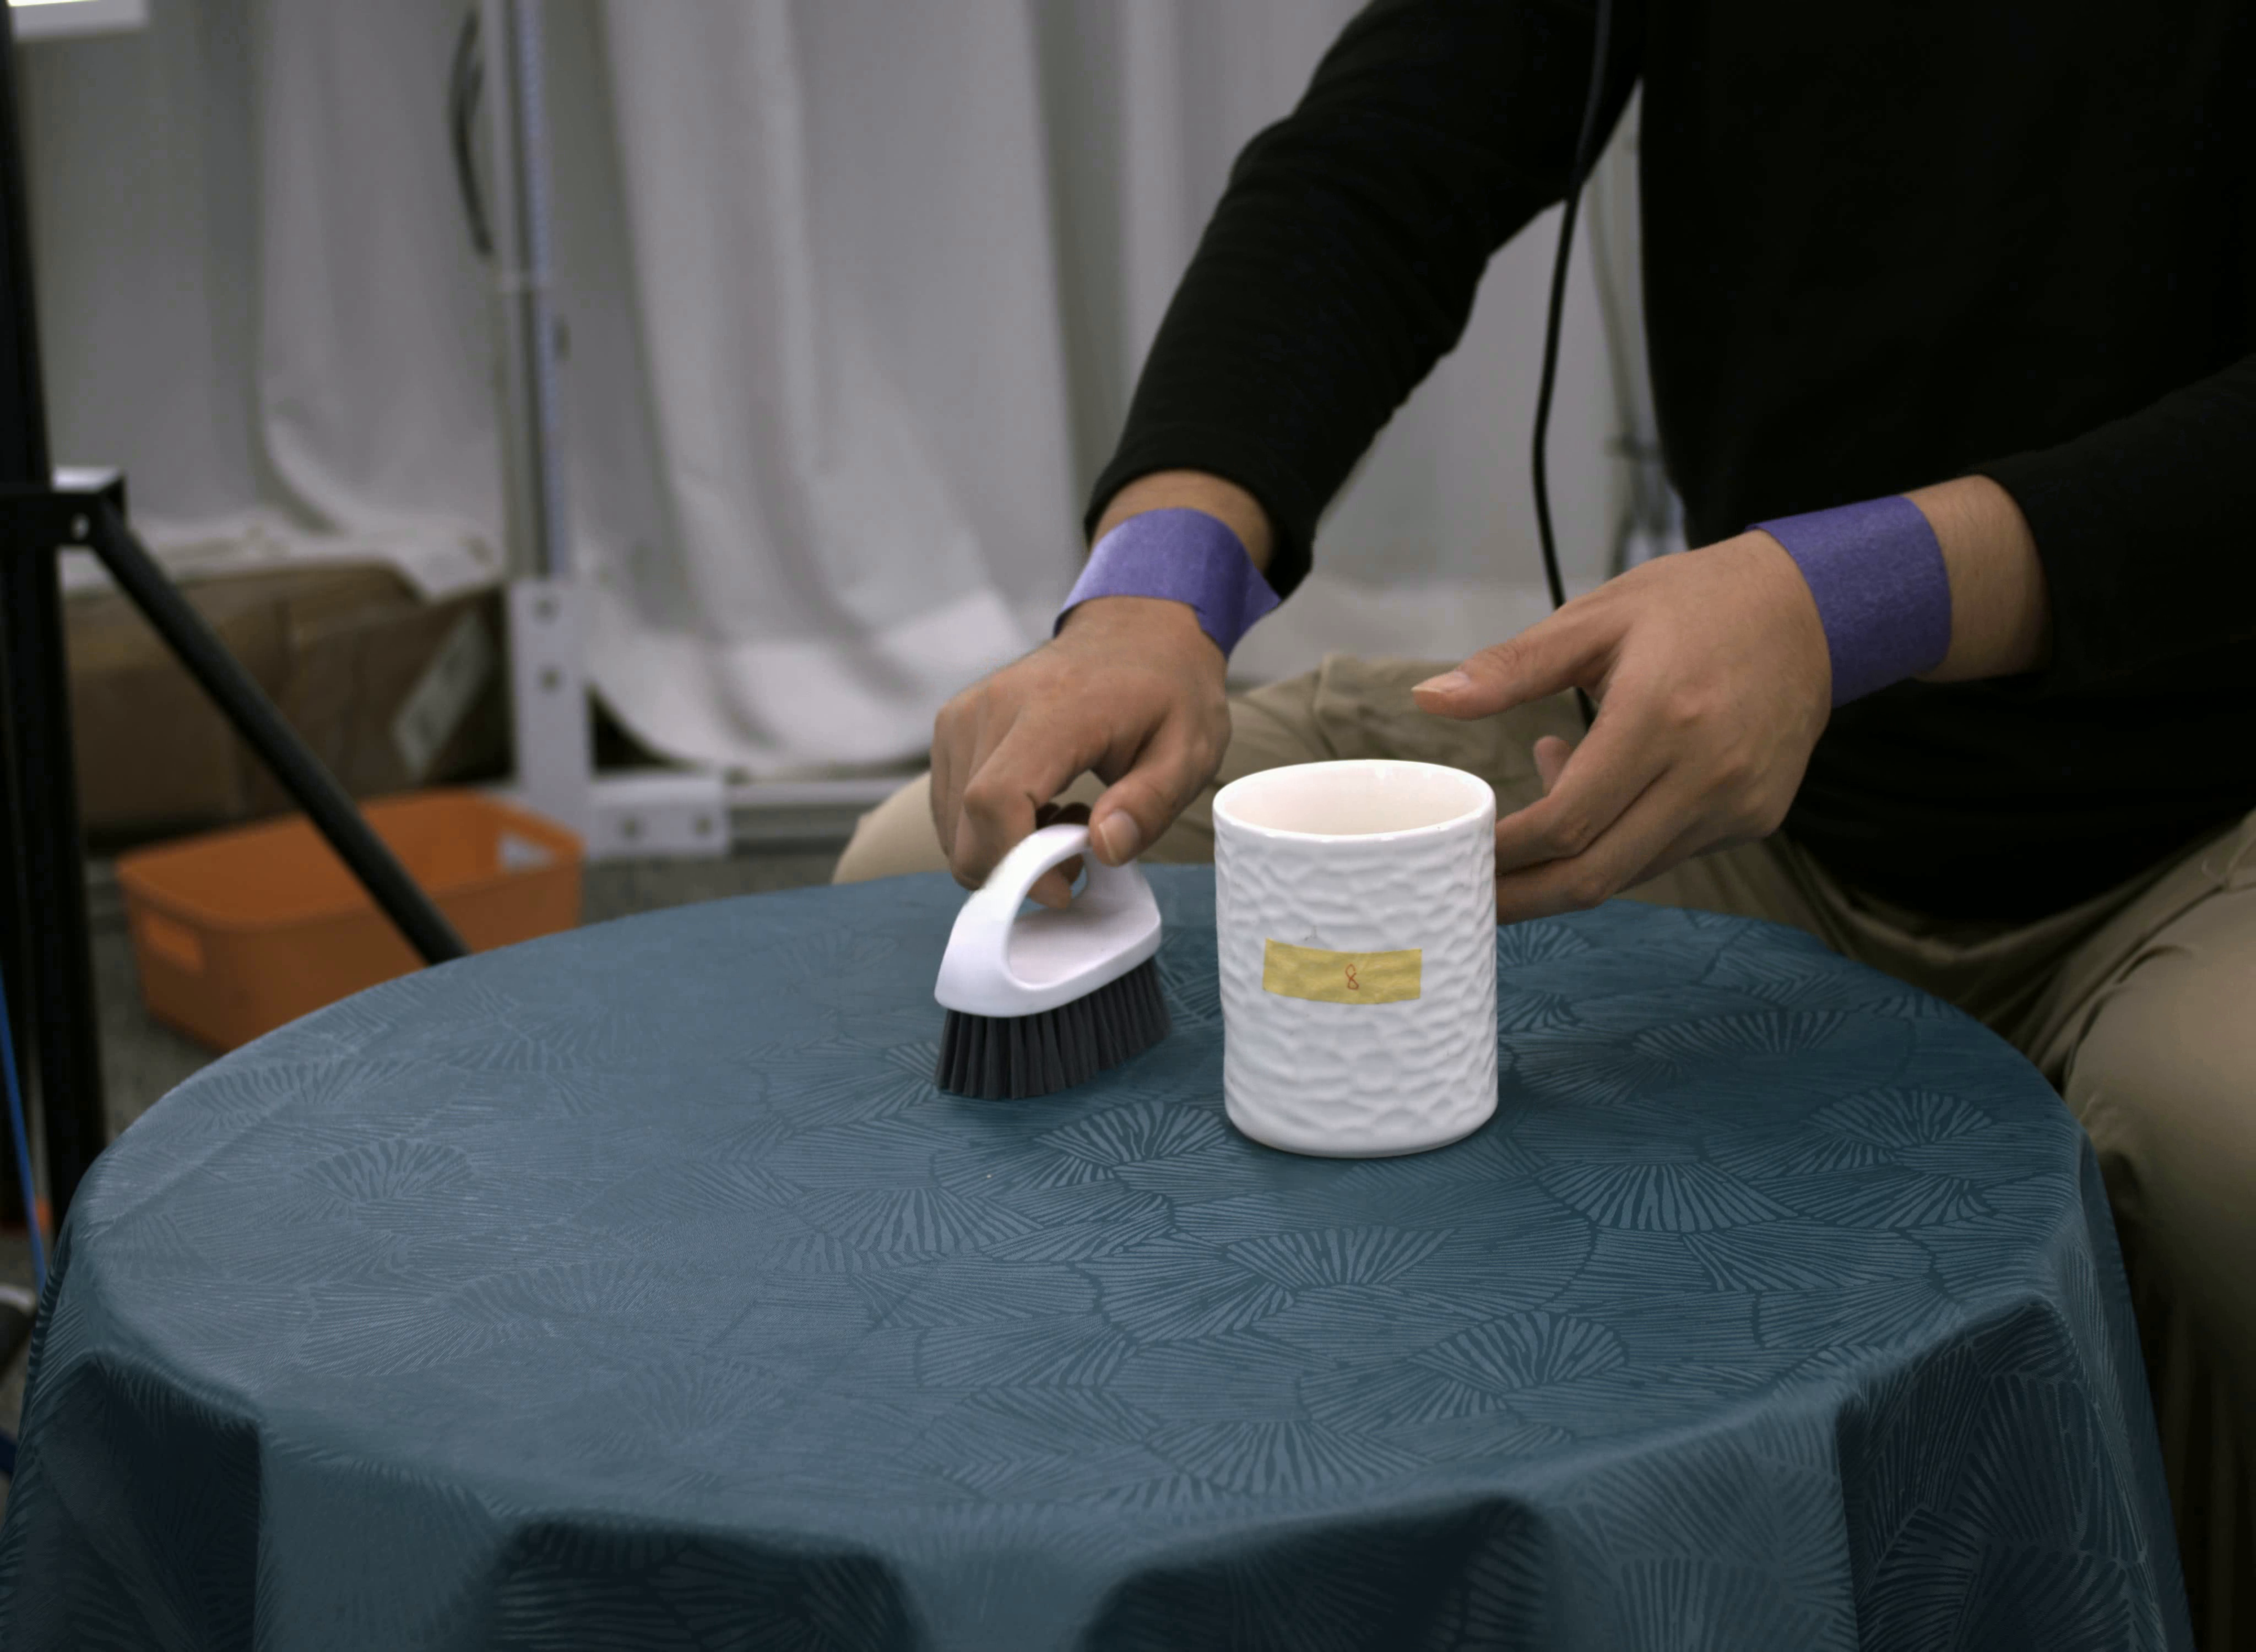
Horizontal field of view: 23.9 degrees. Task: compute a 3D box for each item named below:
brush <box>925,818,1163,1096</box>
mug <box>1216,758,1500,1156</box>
[{"bbox_3d":[-0.026,0.036,1.682,0.051,0.072,0.097,10,21,32],"label":"brush"},{"bbox_3d":[0.078,0.036,1.613,0.086,0.102,0.116,8,17,31],"label":"mug"}]
